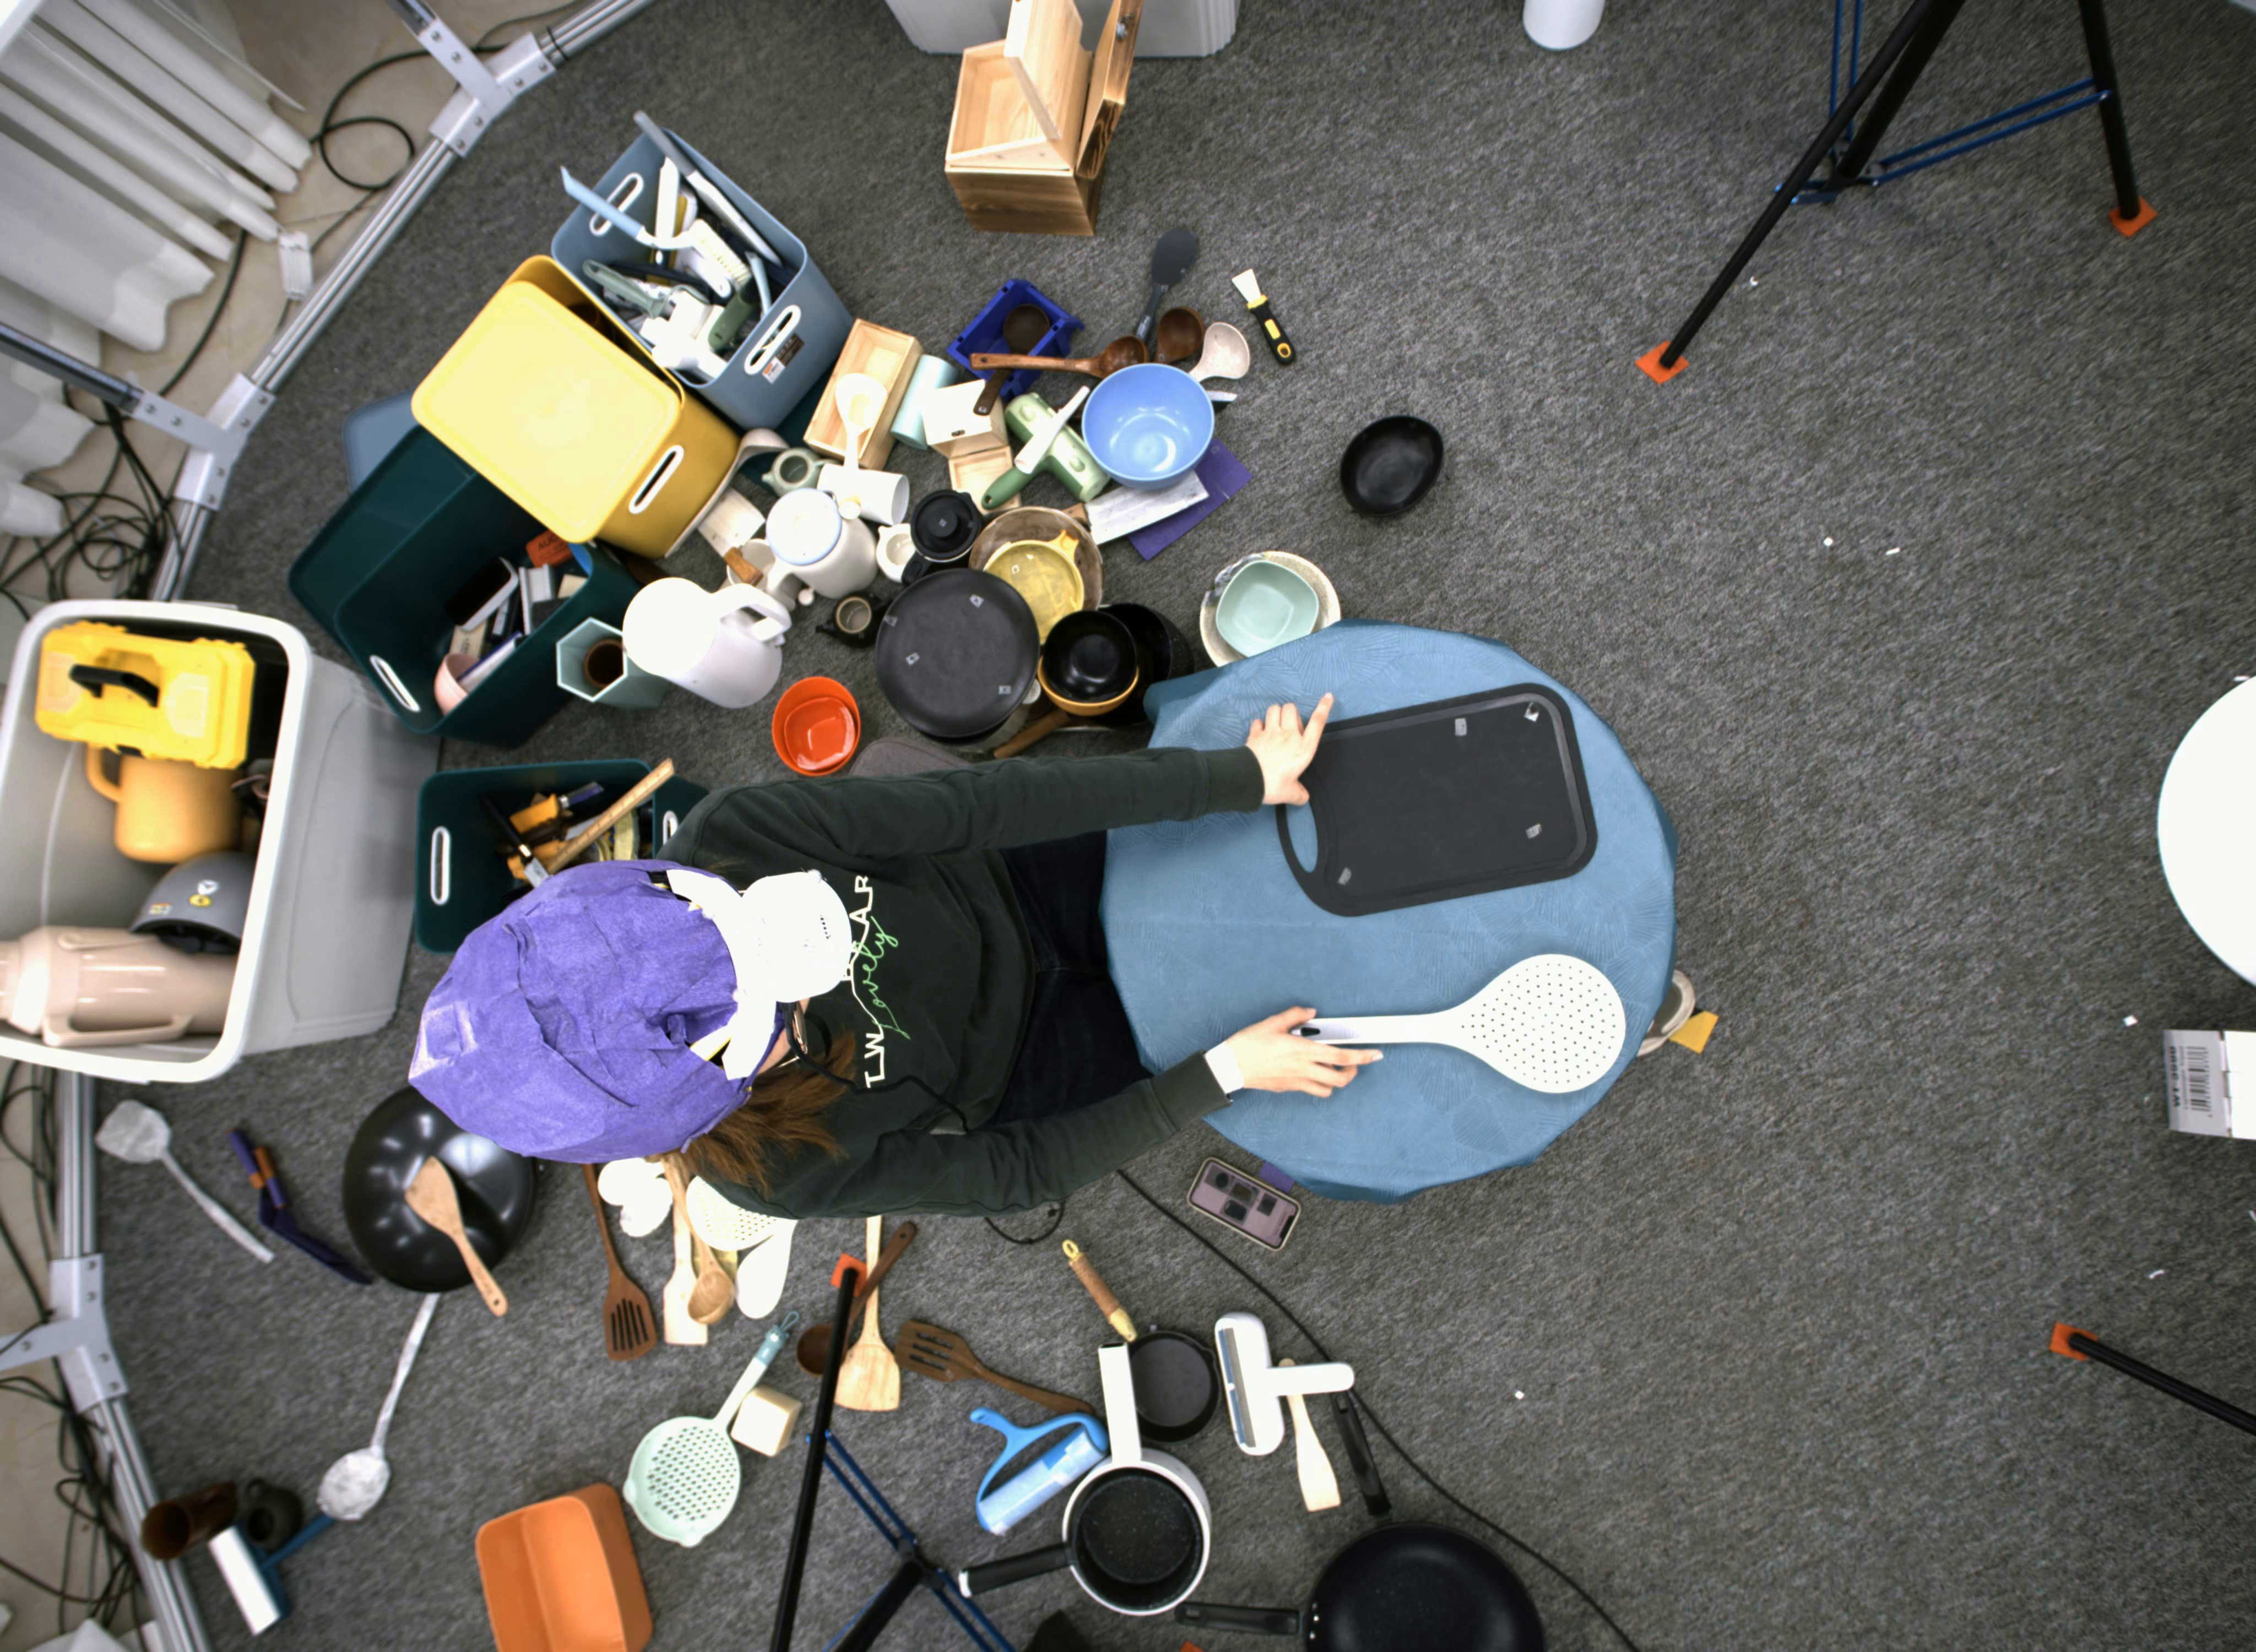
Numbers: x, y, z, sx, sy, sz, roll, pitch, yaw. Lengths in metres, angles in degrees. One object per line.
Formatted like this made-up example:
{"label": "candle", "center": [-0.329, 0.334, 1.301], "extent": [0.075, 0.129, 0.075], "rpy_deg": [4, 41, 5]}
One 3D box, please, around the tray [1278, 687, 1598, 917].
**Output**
{"label": "tray", "center": [0.322, -0.025, 1.458], "extent": [0.327, 0.010, 0.209], "rpy_deg": [-11, 84, 10]}

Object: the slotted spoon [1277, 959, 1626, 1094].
{"label": "slotted spoon", "center": [0.328, 0.208, 1.422], "extent": [0.351, 0.046, 0.135], "rpy_deg": [-3, 83, 11]}
